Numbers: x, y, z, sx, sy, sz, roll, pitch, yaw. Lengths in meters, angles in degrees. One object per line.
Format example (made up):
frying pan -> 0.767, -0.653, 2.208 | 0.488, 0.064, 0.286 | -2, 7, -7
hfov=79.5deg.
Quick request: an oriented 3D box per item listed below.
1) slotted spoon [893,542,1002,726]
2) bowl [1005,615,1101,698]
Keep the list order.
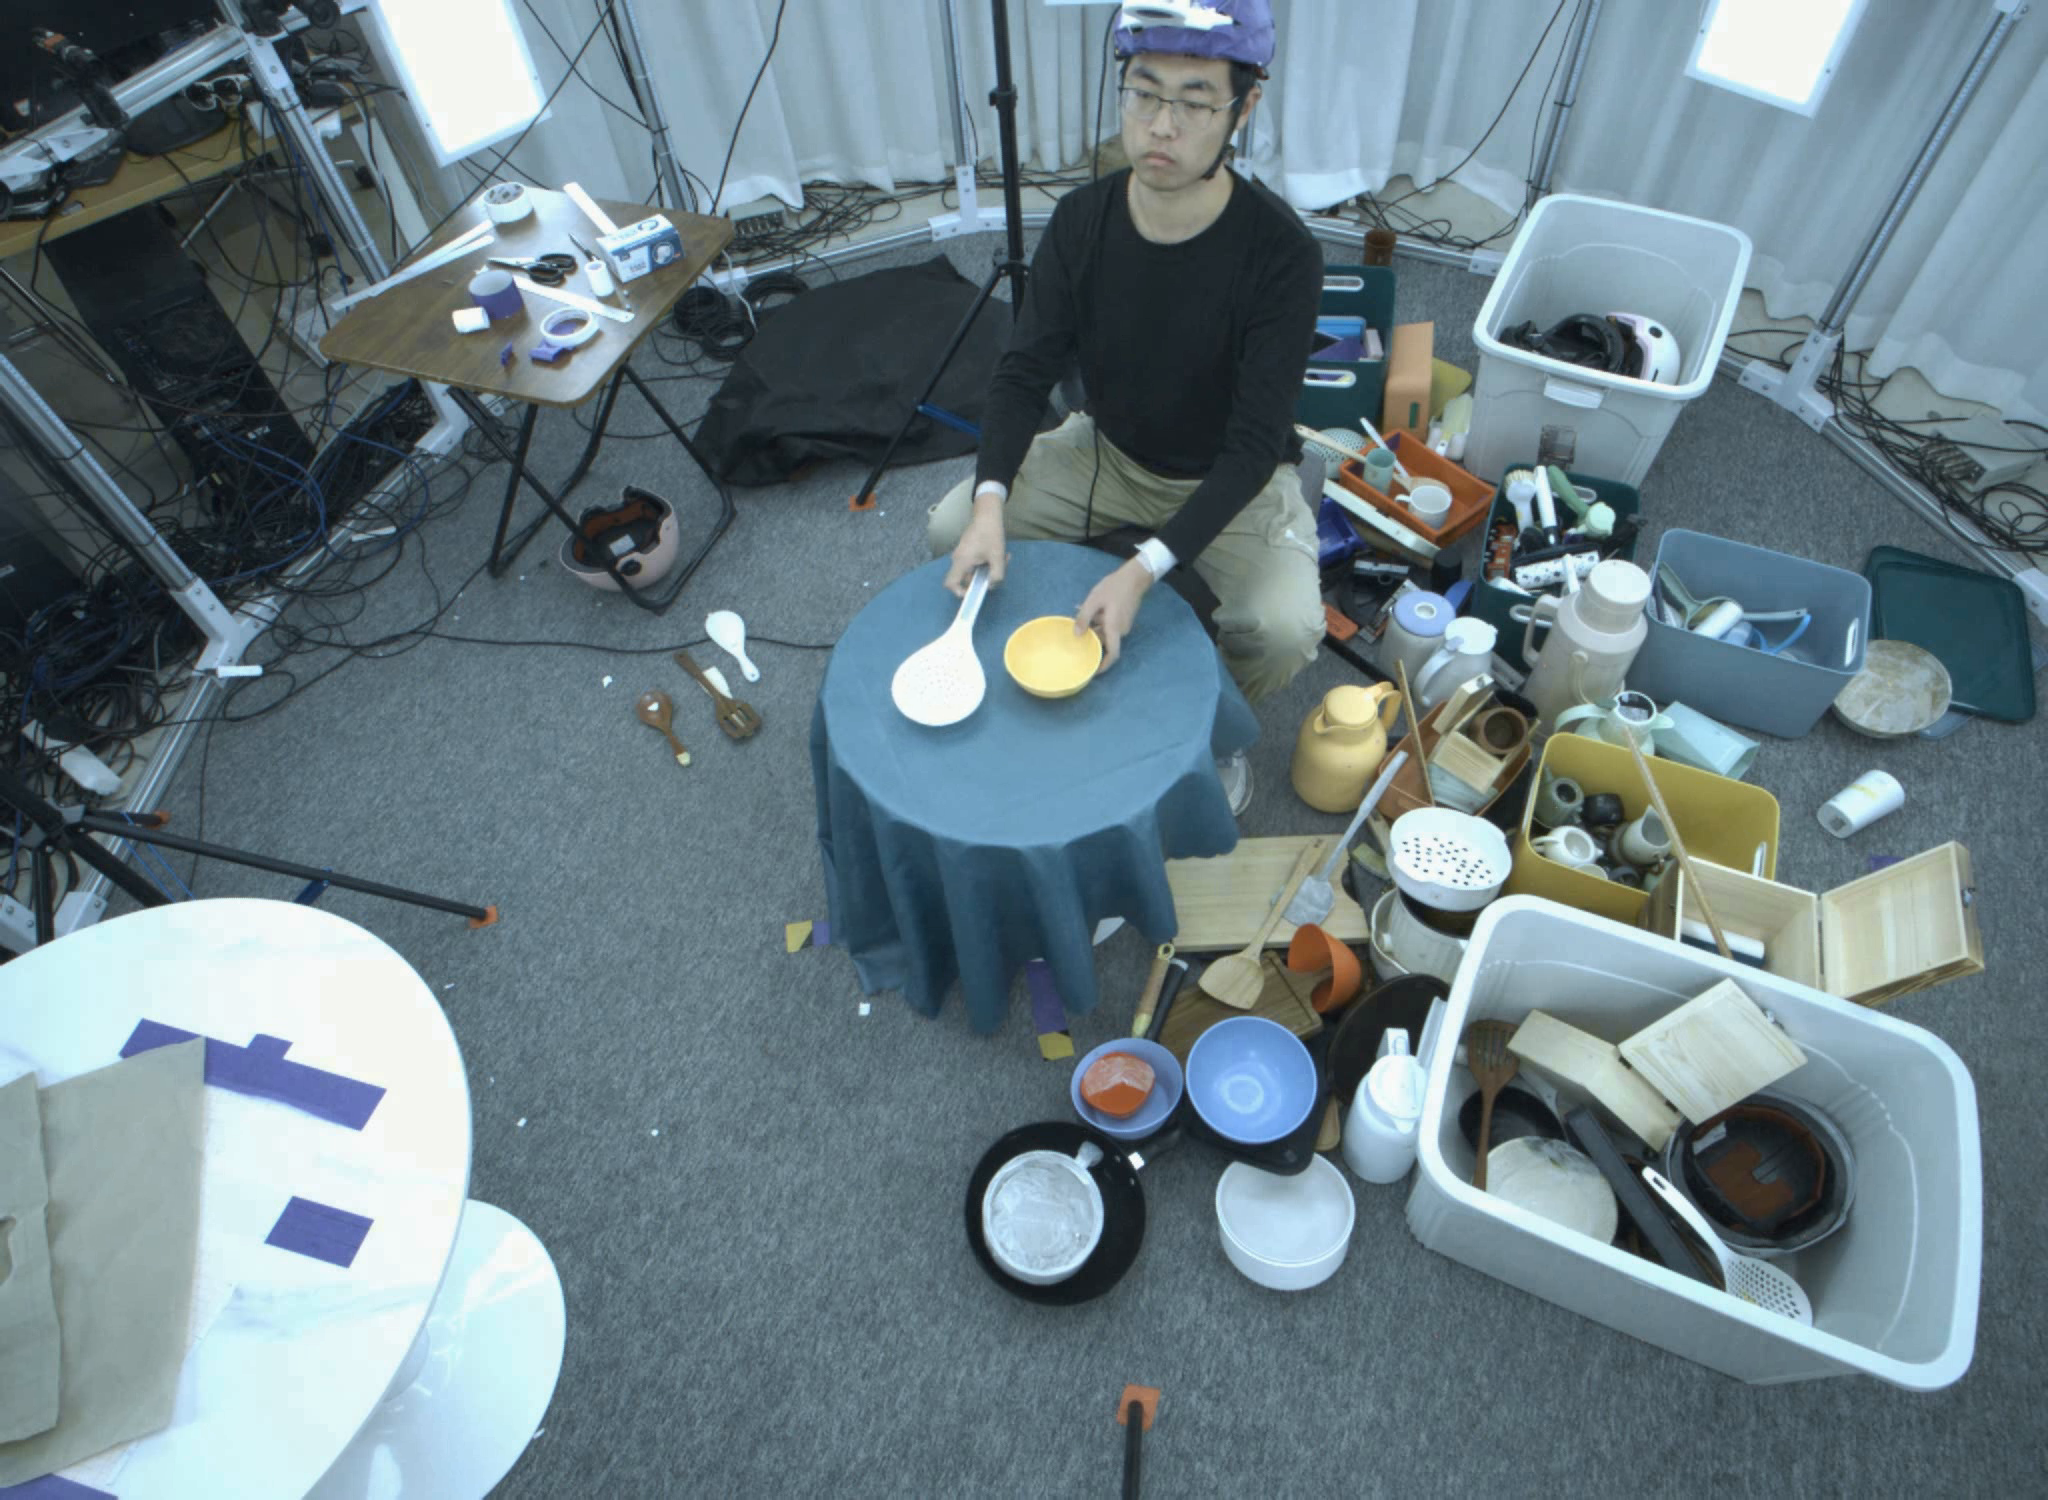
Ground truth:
slotted spoon -> -0.096, -0.181, 1.866 | 0.135, 0.046, 0.348 | 14, 66, 7
bowl -> 0.044, -0.129, 1.843 | 0.145, 0.061, 0.144 | 0, 57, 1
